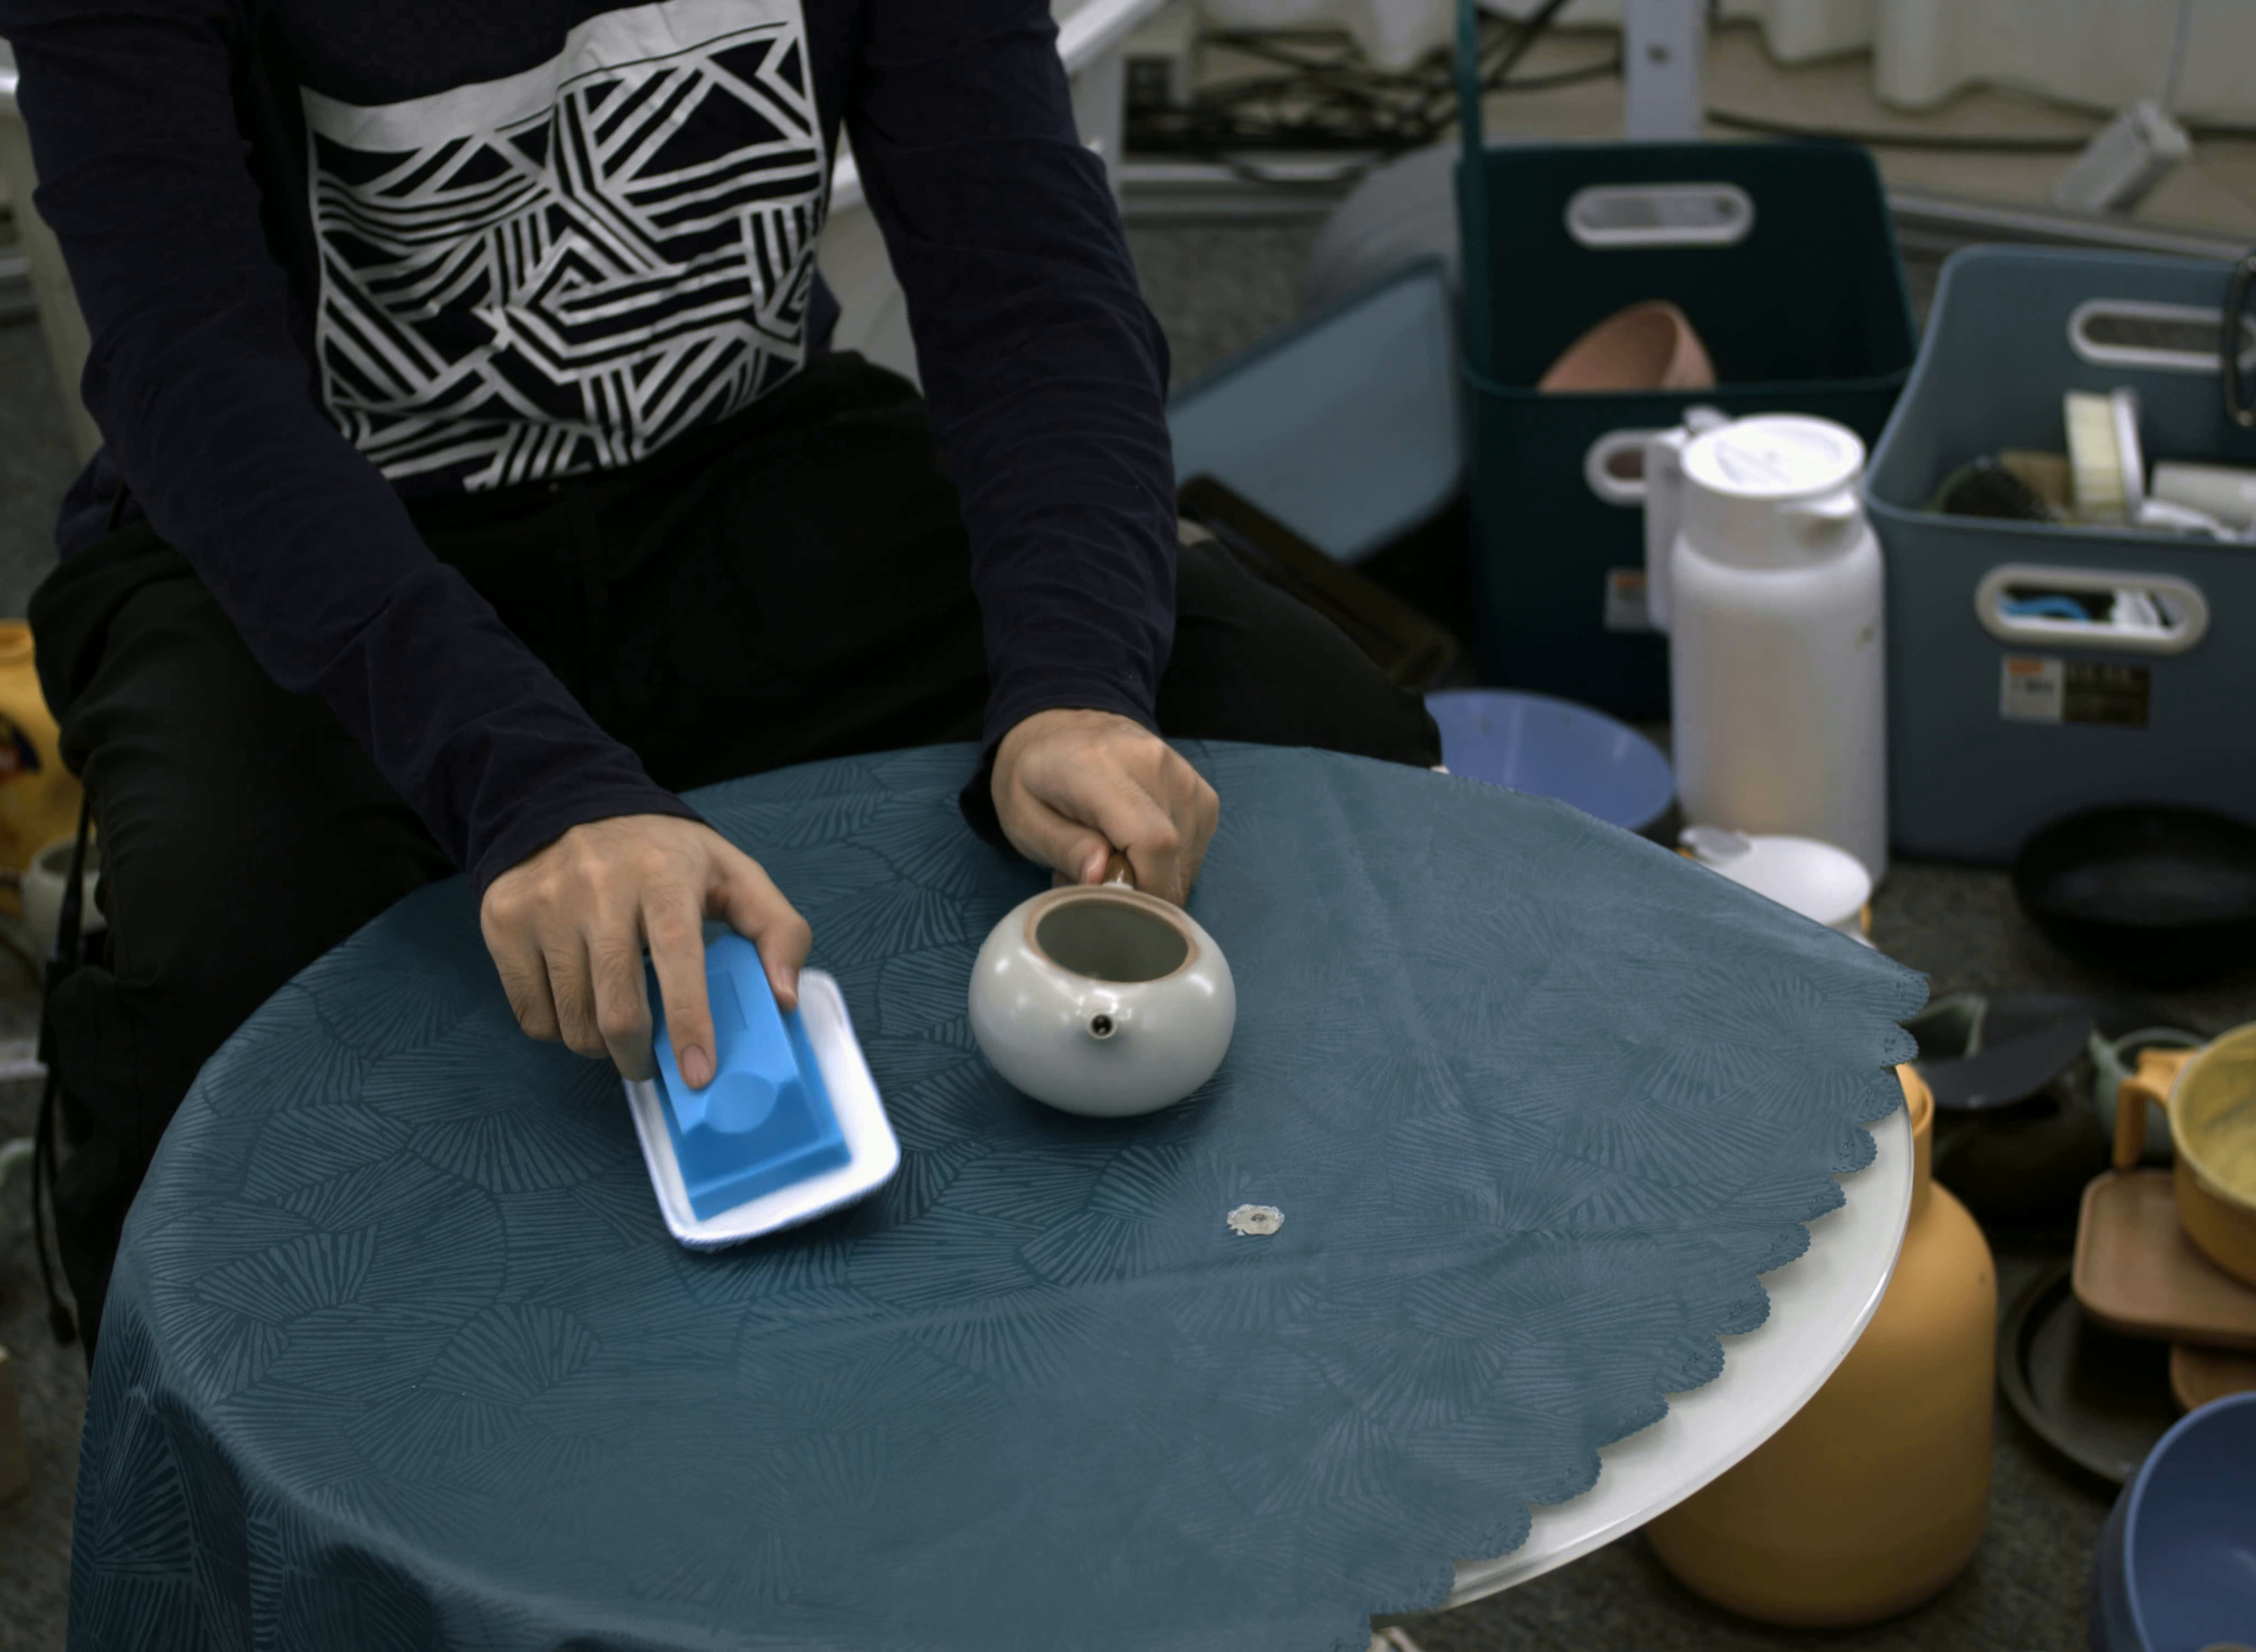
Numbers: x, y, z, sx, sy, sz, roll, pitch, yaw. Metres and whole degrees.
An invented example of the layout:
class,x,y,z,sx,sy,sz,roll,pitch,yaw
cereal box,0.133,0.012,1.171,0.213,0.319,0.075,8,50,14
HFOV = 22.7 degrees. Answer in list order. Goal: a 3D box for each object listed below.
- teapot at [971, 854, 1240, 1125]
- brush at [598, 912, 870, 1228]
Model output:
class,x,y,z,sx,sy,sz,roll,pitch,yaw
teapot,-0.007,0.057,1.913,0.091,0.059,0.130,2,31,0
brush,-0.134,0.077,1.882,0.083,0.055,0.146,-13,33,-4
